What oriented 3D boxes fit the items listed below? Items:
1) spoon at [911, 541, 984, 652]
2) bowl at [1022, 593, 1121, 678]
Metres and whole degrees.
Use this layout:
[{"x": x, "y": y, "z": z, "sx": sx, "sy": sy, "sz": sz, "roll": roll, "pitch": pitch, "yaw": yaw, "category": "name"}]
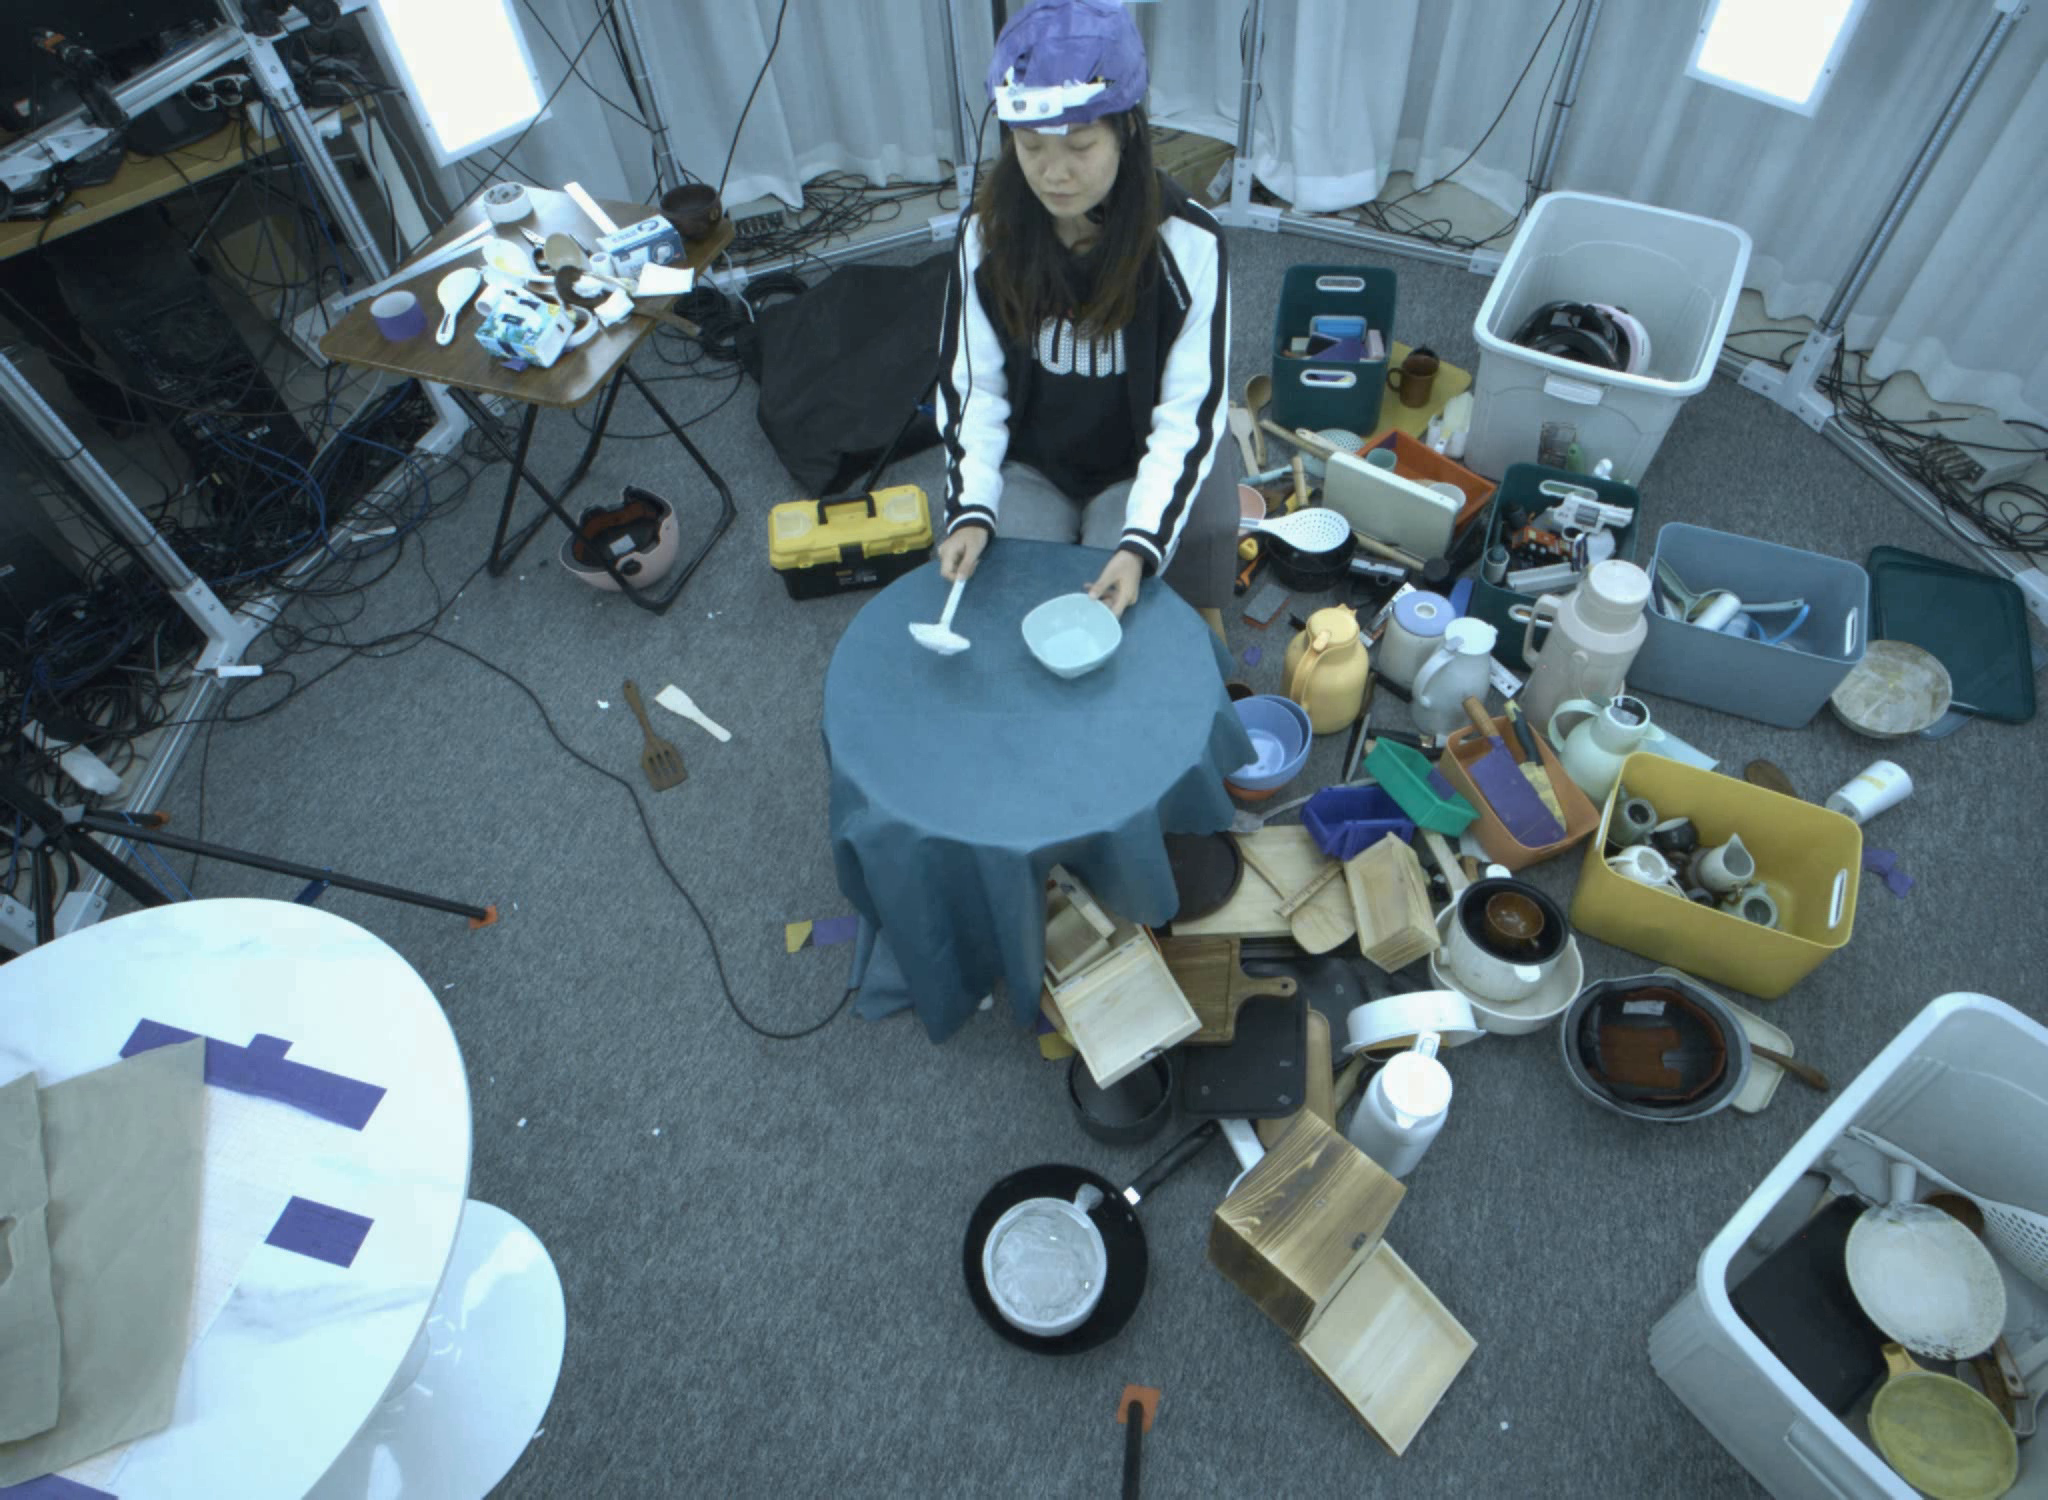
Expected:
[{"x": -0.094, "y": -0.243, "z": 1.867, "sx": 0.101, "sy": 0.059, "sz": 0.276, "roll": 24, "pitch": 52, "yaw": -6, "category": "spoon"}, {"x": 0.072, "y": -0.164, "z": 1.869, "sx": 0.151, "sy": 0.059, "sz": 0.150, "roll": 0, "pitch": 55, "yaw": 2, "category": "bowl"}]
